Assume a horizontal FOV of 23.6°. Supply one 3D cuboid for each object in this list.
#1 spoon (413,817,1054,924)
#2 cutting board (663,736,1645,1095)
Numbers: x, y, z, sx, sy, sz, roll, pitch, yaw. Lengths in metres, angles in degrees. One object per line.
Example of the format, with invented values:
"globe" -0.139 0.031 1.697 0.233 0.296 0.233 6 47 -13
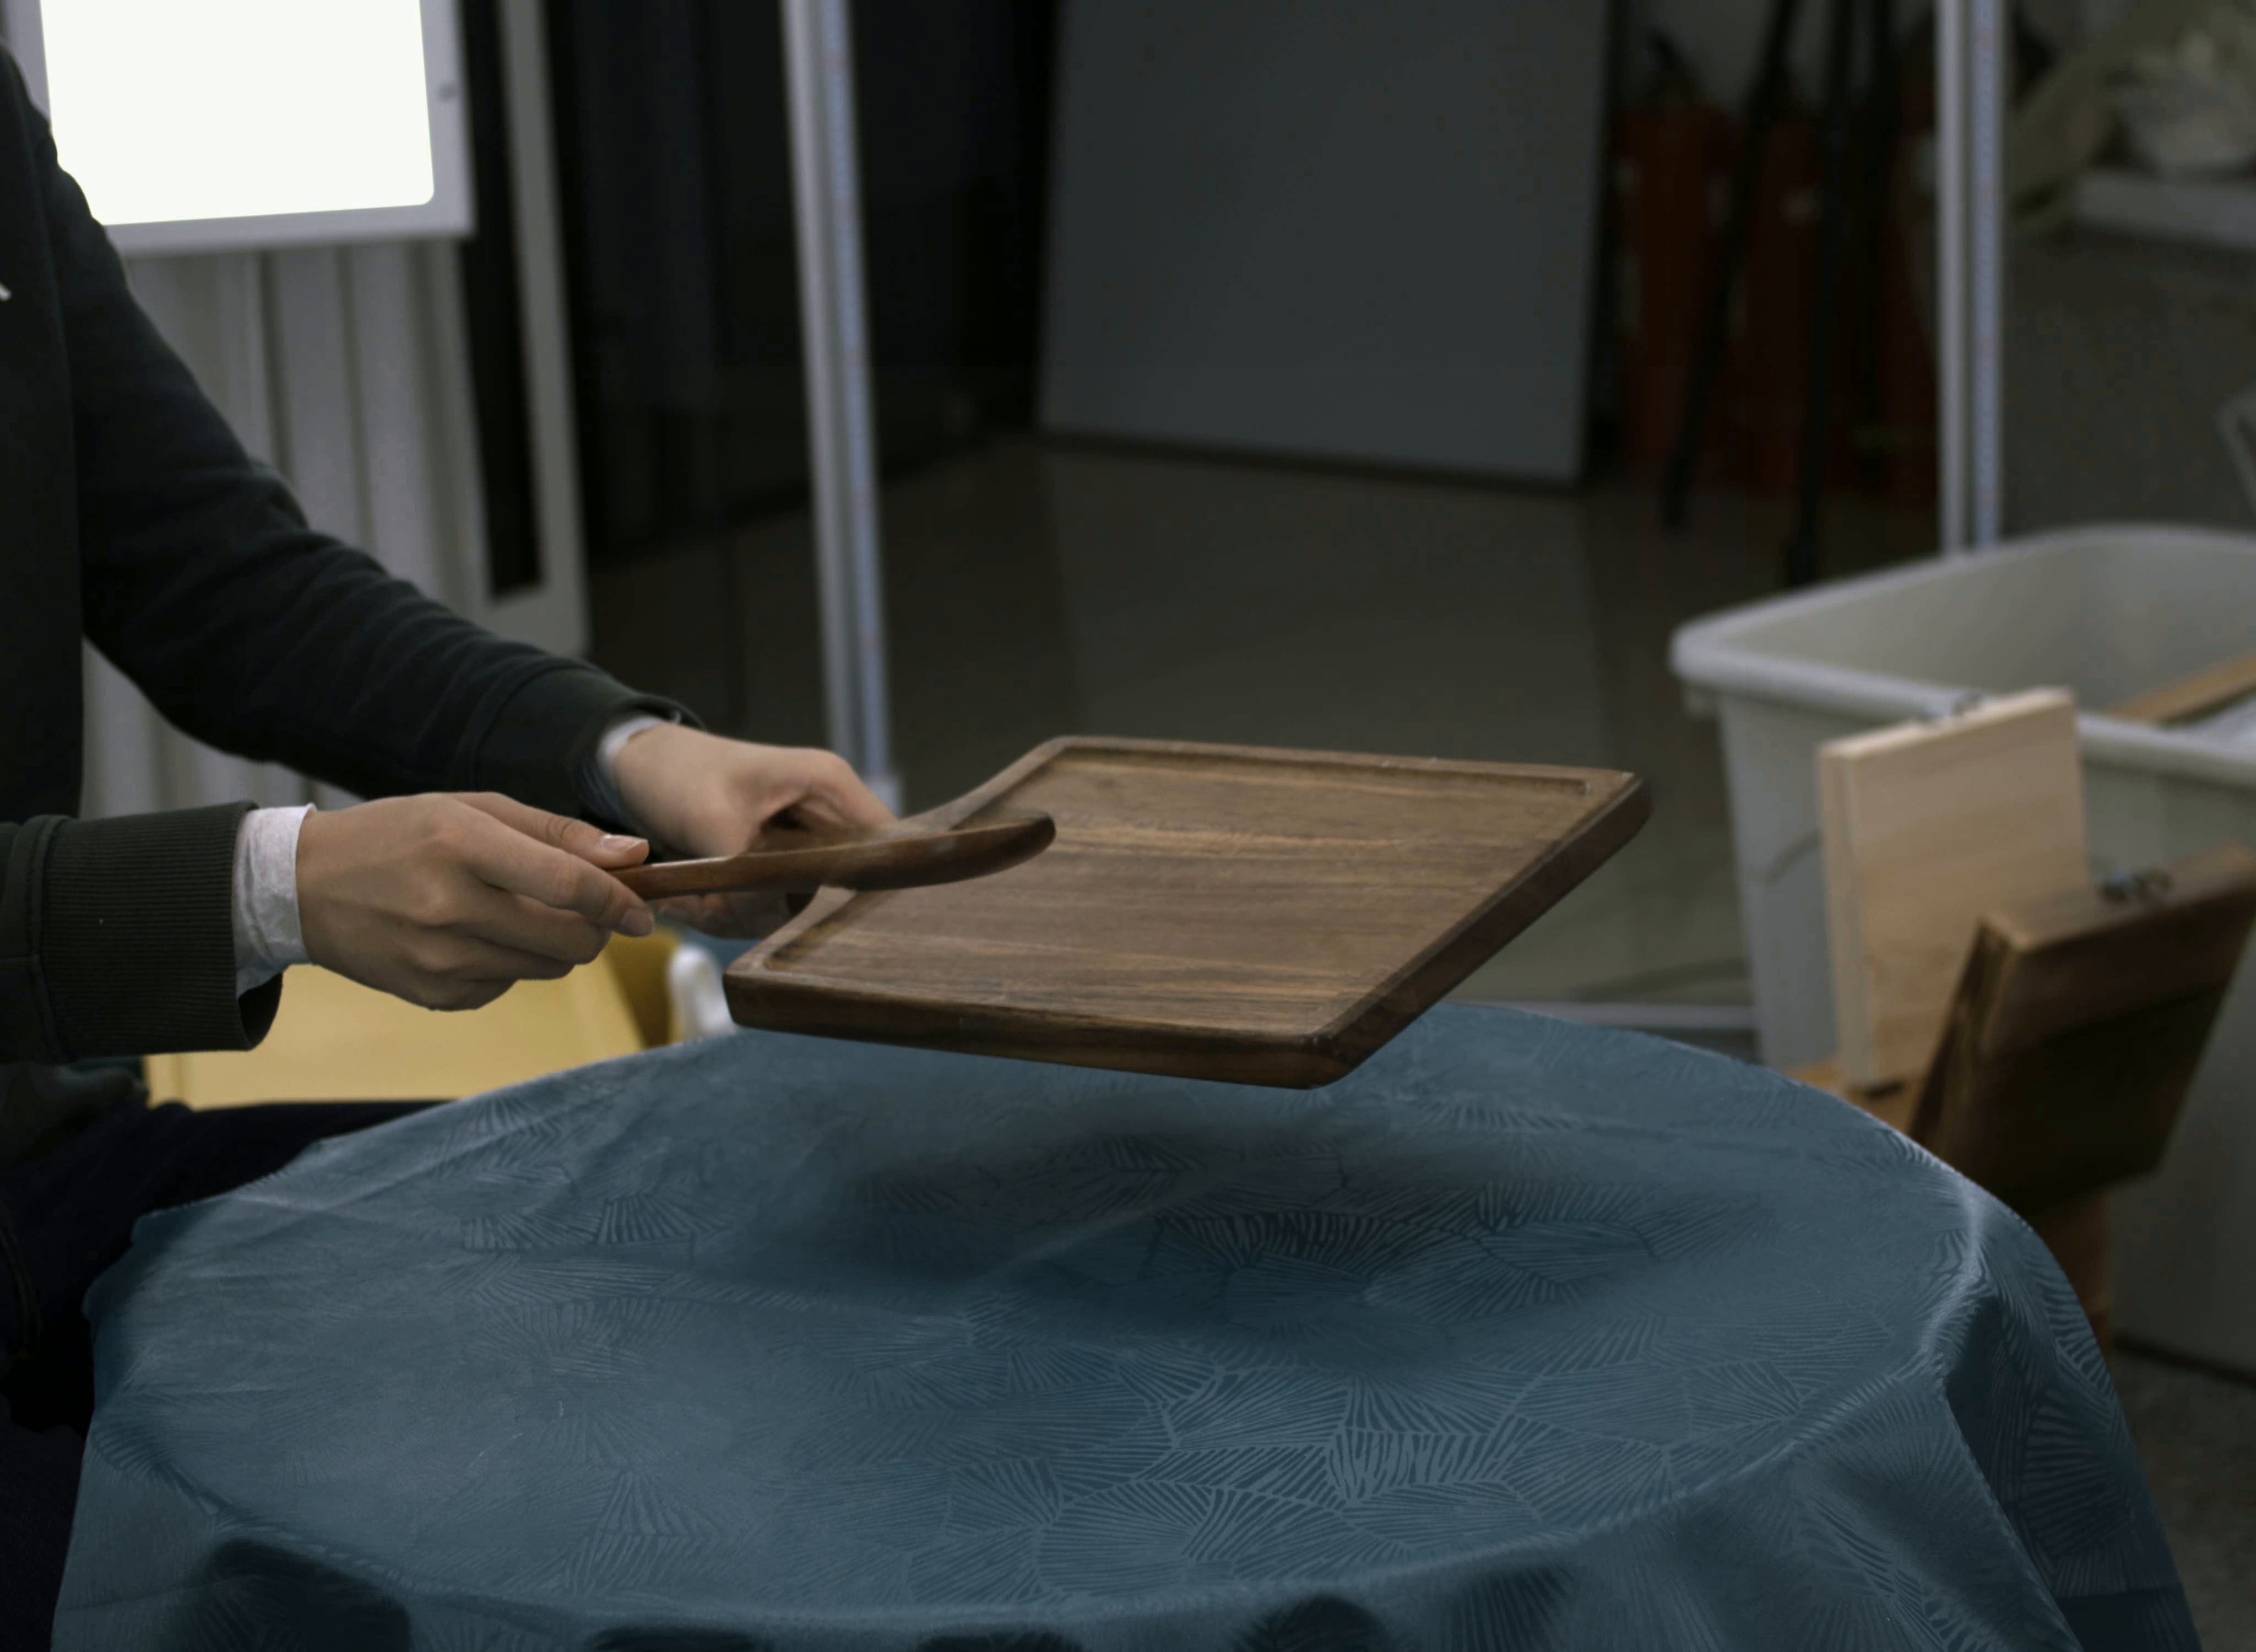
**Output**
"spoon" -0.124 0.015 1.677 0.215 0.017 0.074 -5 4 21
"cutting board" -0.020 0.022 1.788 0.355 0.023 0.198 3 29 40
